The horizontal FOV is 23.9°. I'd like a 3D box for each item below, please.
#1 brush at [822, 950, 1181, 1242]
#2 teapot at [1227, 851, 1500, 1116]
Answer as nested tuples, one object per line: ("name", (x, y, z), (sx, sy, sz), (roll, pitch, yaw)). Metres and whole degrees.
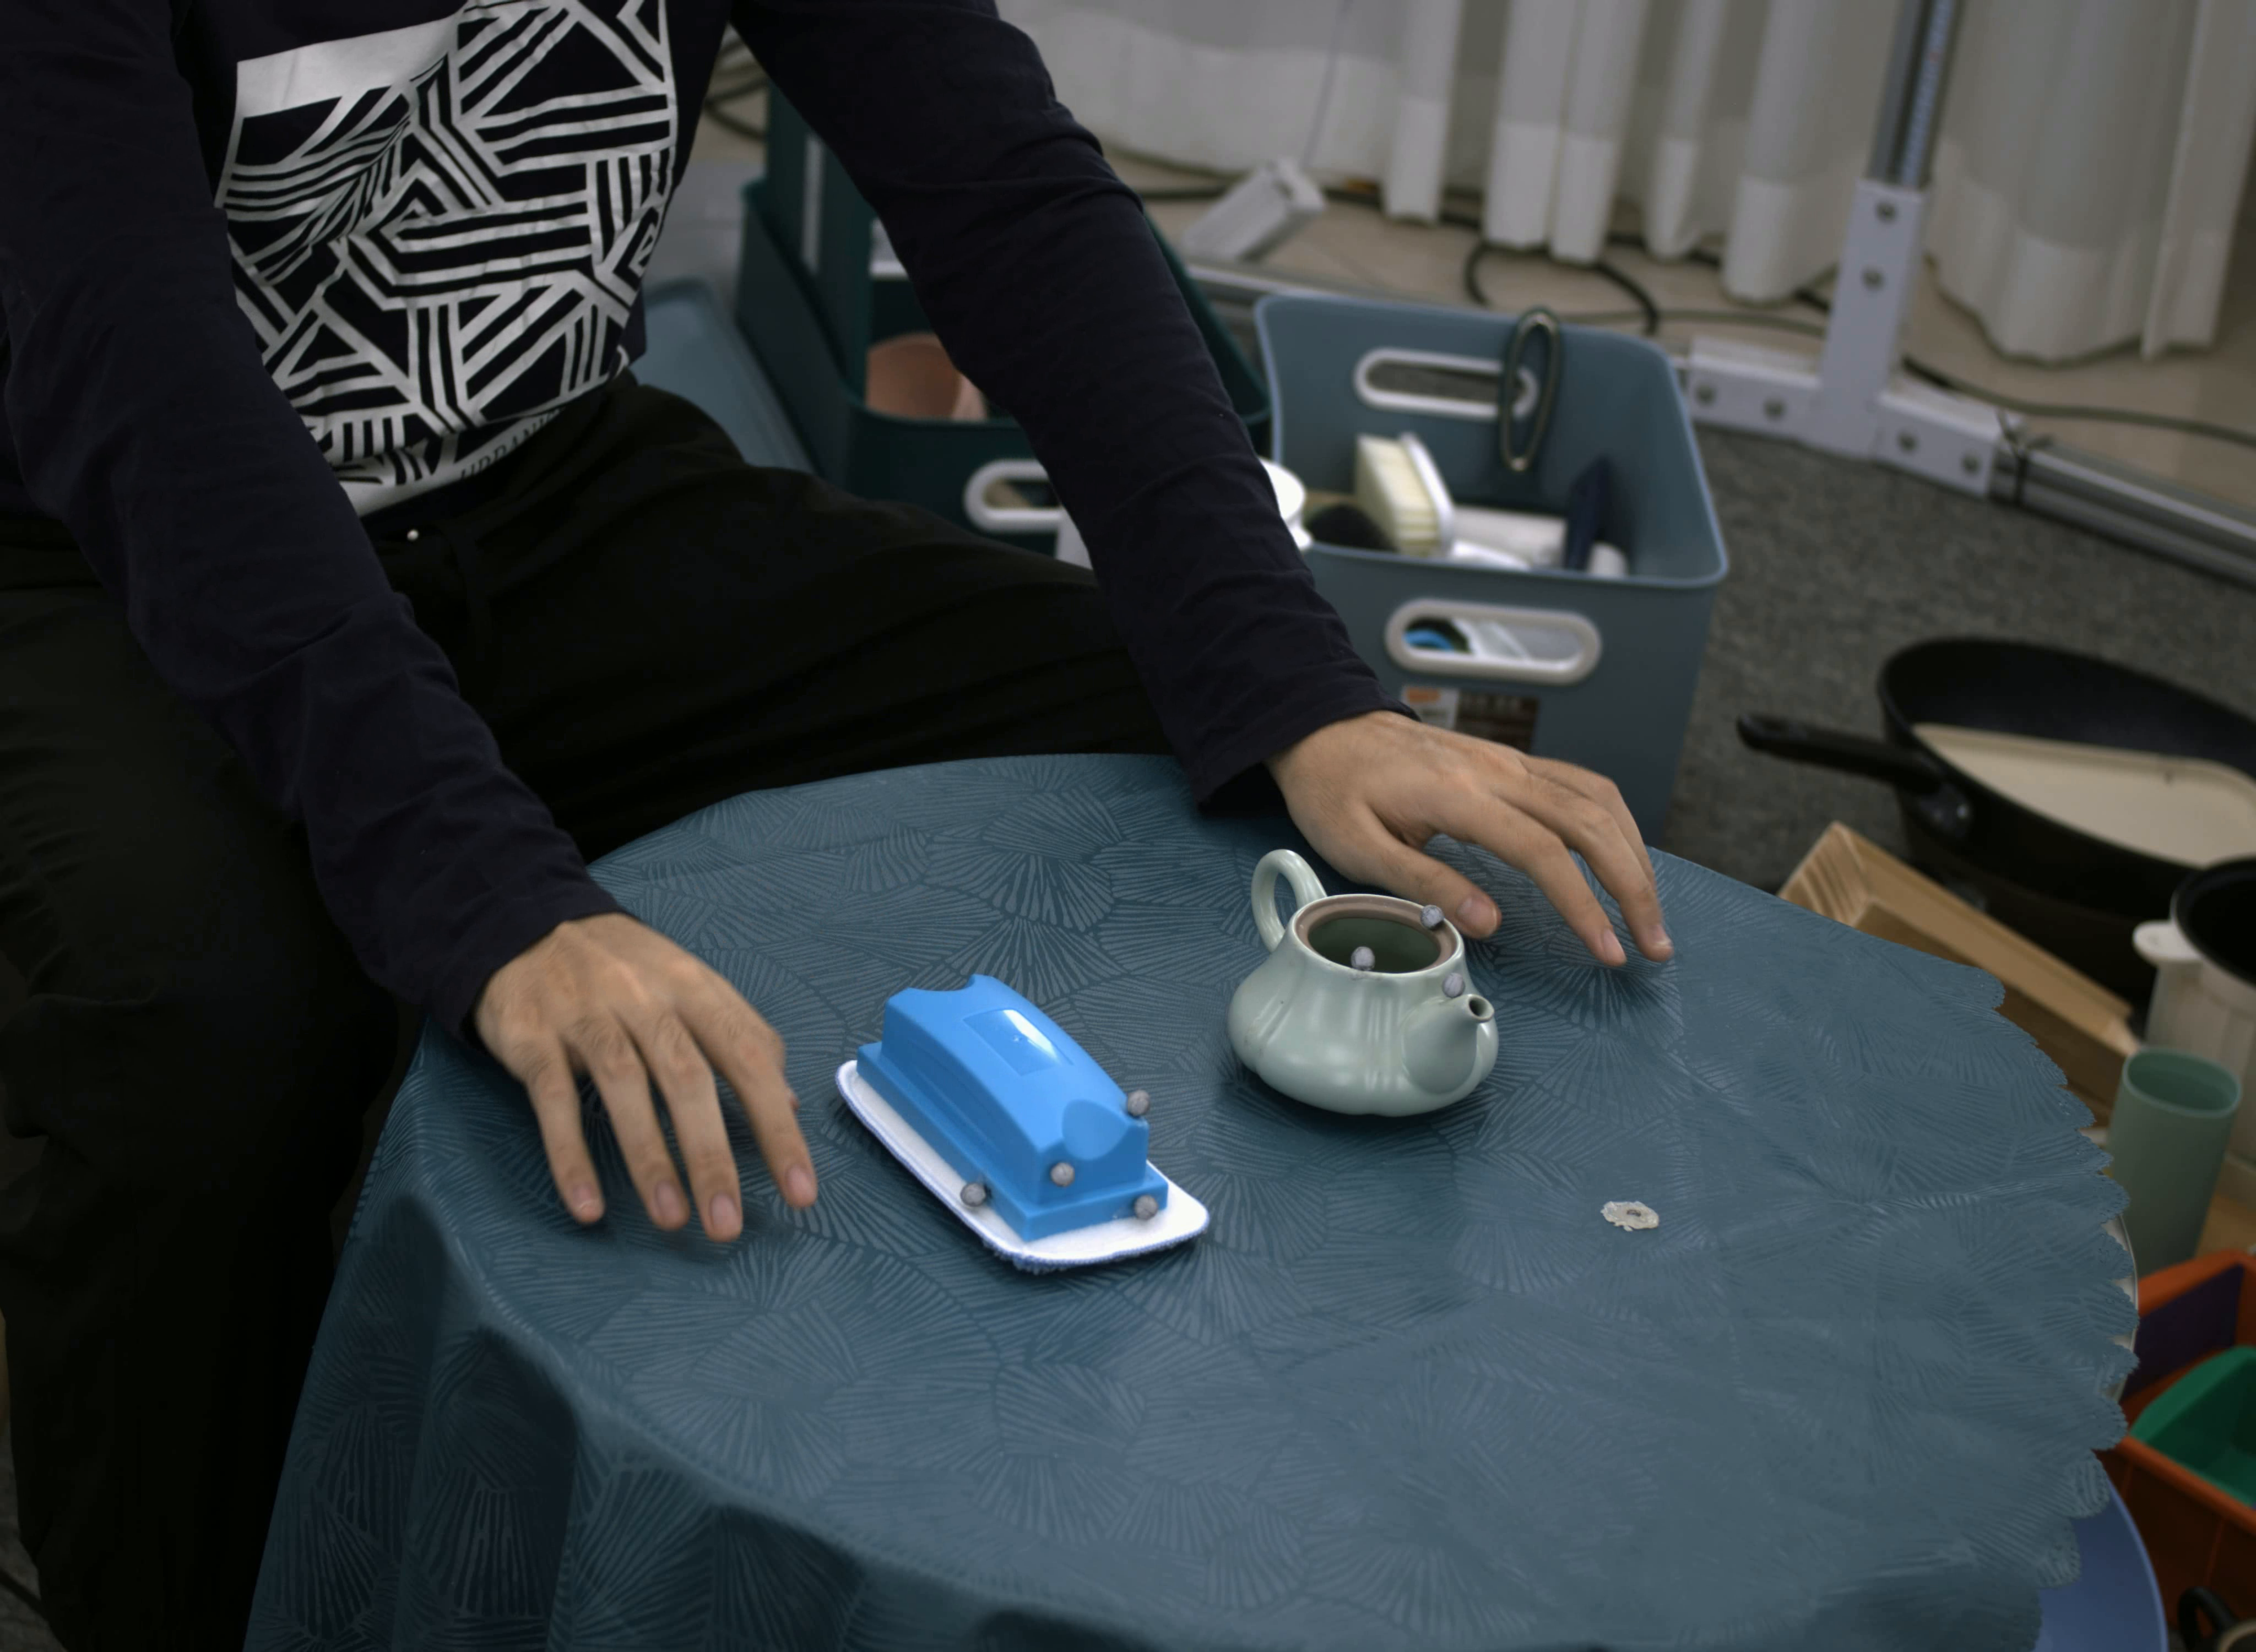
("brush", (-0.040, 0.087, 1.802), (0.083, 0.056, 0.145), (-6, 32, -29))
("teapot", (0.082, 0.059, 1.885), (0.095, 0.061, 0.138), (-14, 34, -33))
